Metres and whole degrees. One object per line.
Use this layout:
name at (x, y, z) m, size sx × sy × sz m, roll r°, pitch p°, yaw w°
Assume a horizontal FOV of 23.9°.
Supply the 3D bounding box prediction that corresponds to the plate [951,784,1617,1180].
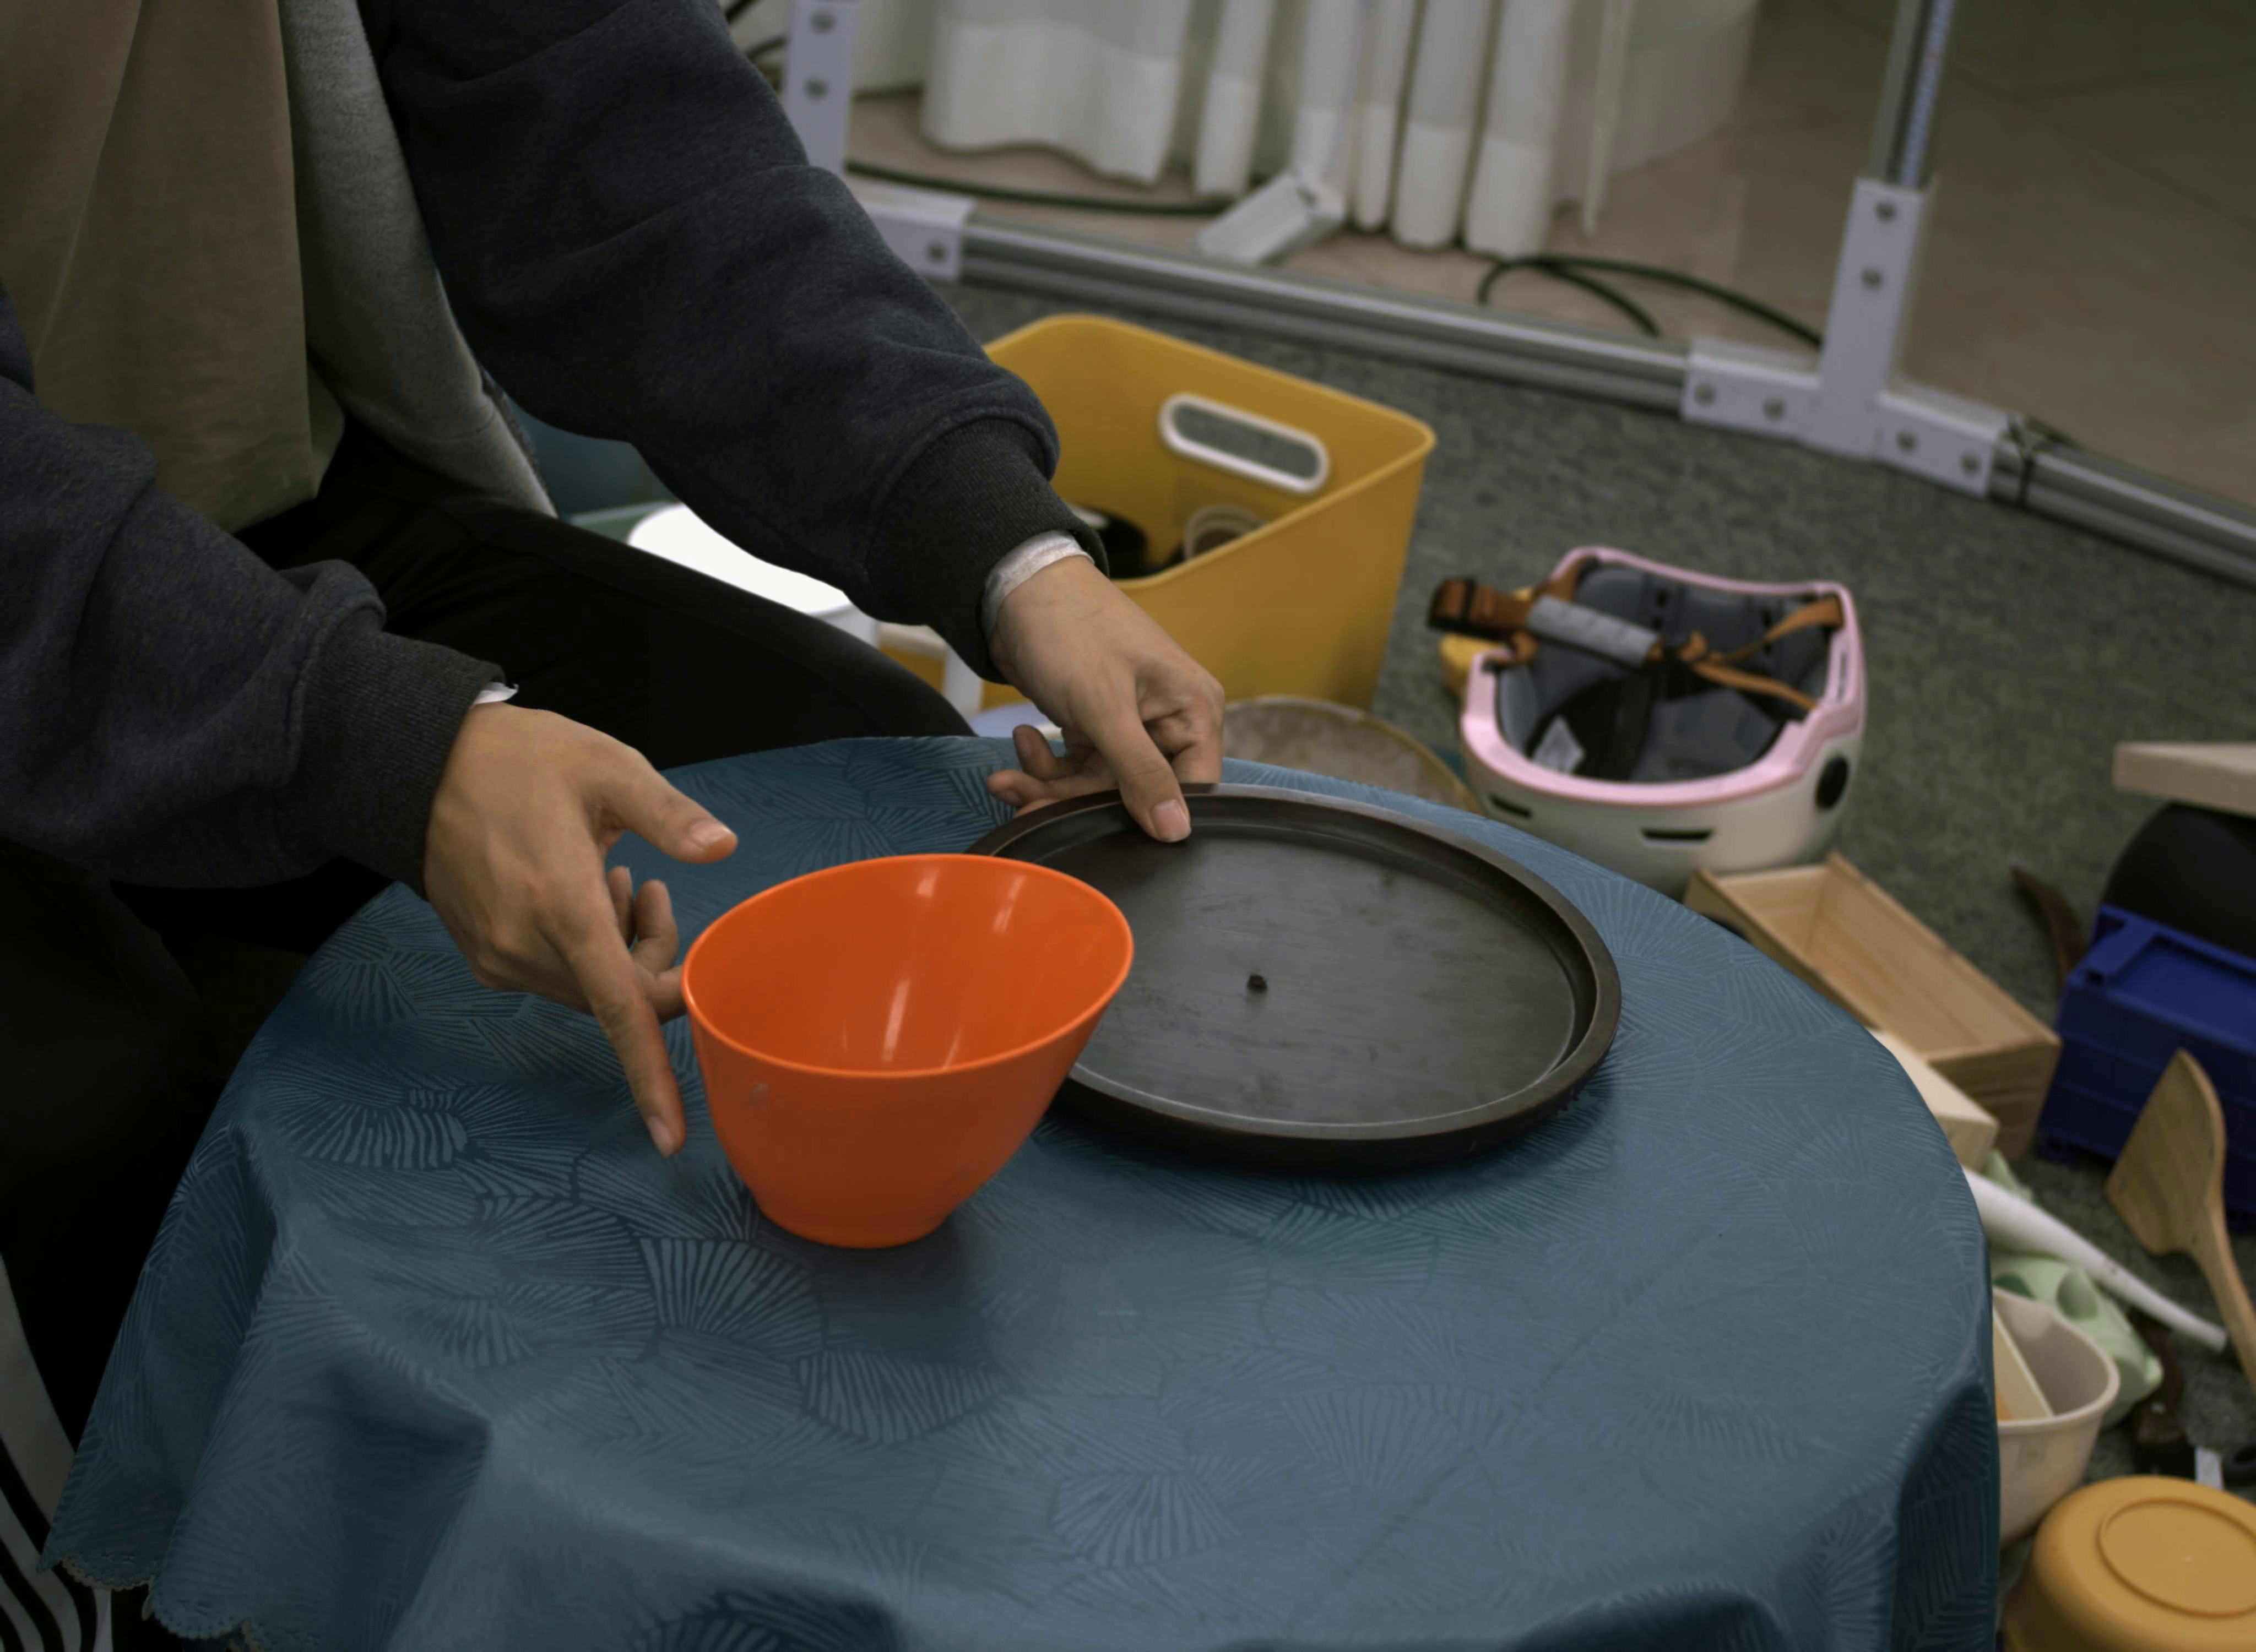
plate at (0.051, 0.054, 1.919) m, size 0.254 × 0.029 × 0.256 m, roll 4°, pitch 29°, yaw -3°

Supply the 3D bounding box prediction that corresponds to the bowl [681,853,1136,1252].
bowl at (-0.076, 0.081, 1.757) m, size 0.147 × 0.104 × 0.149 m, roll 6°, pitch 28°, yaw -3°
